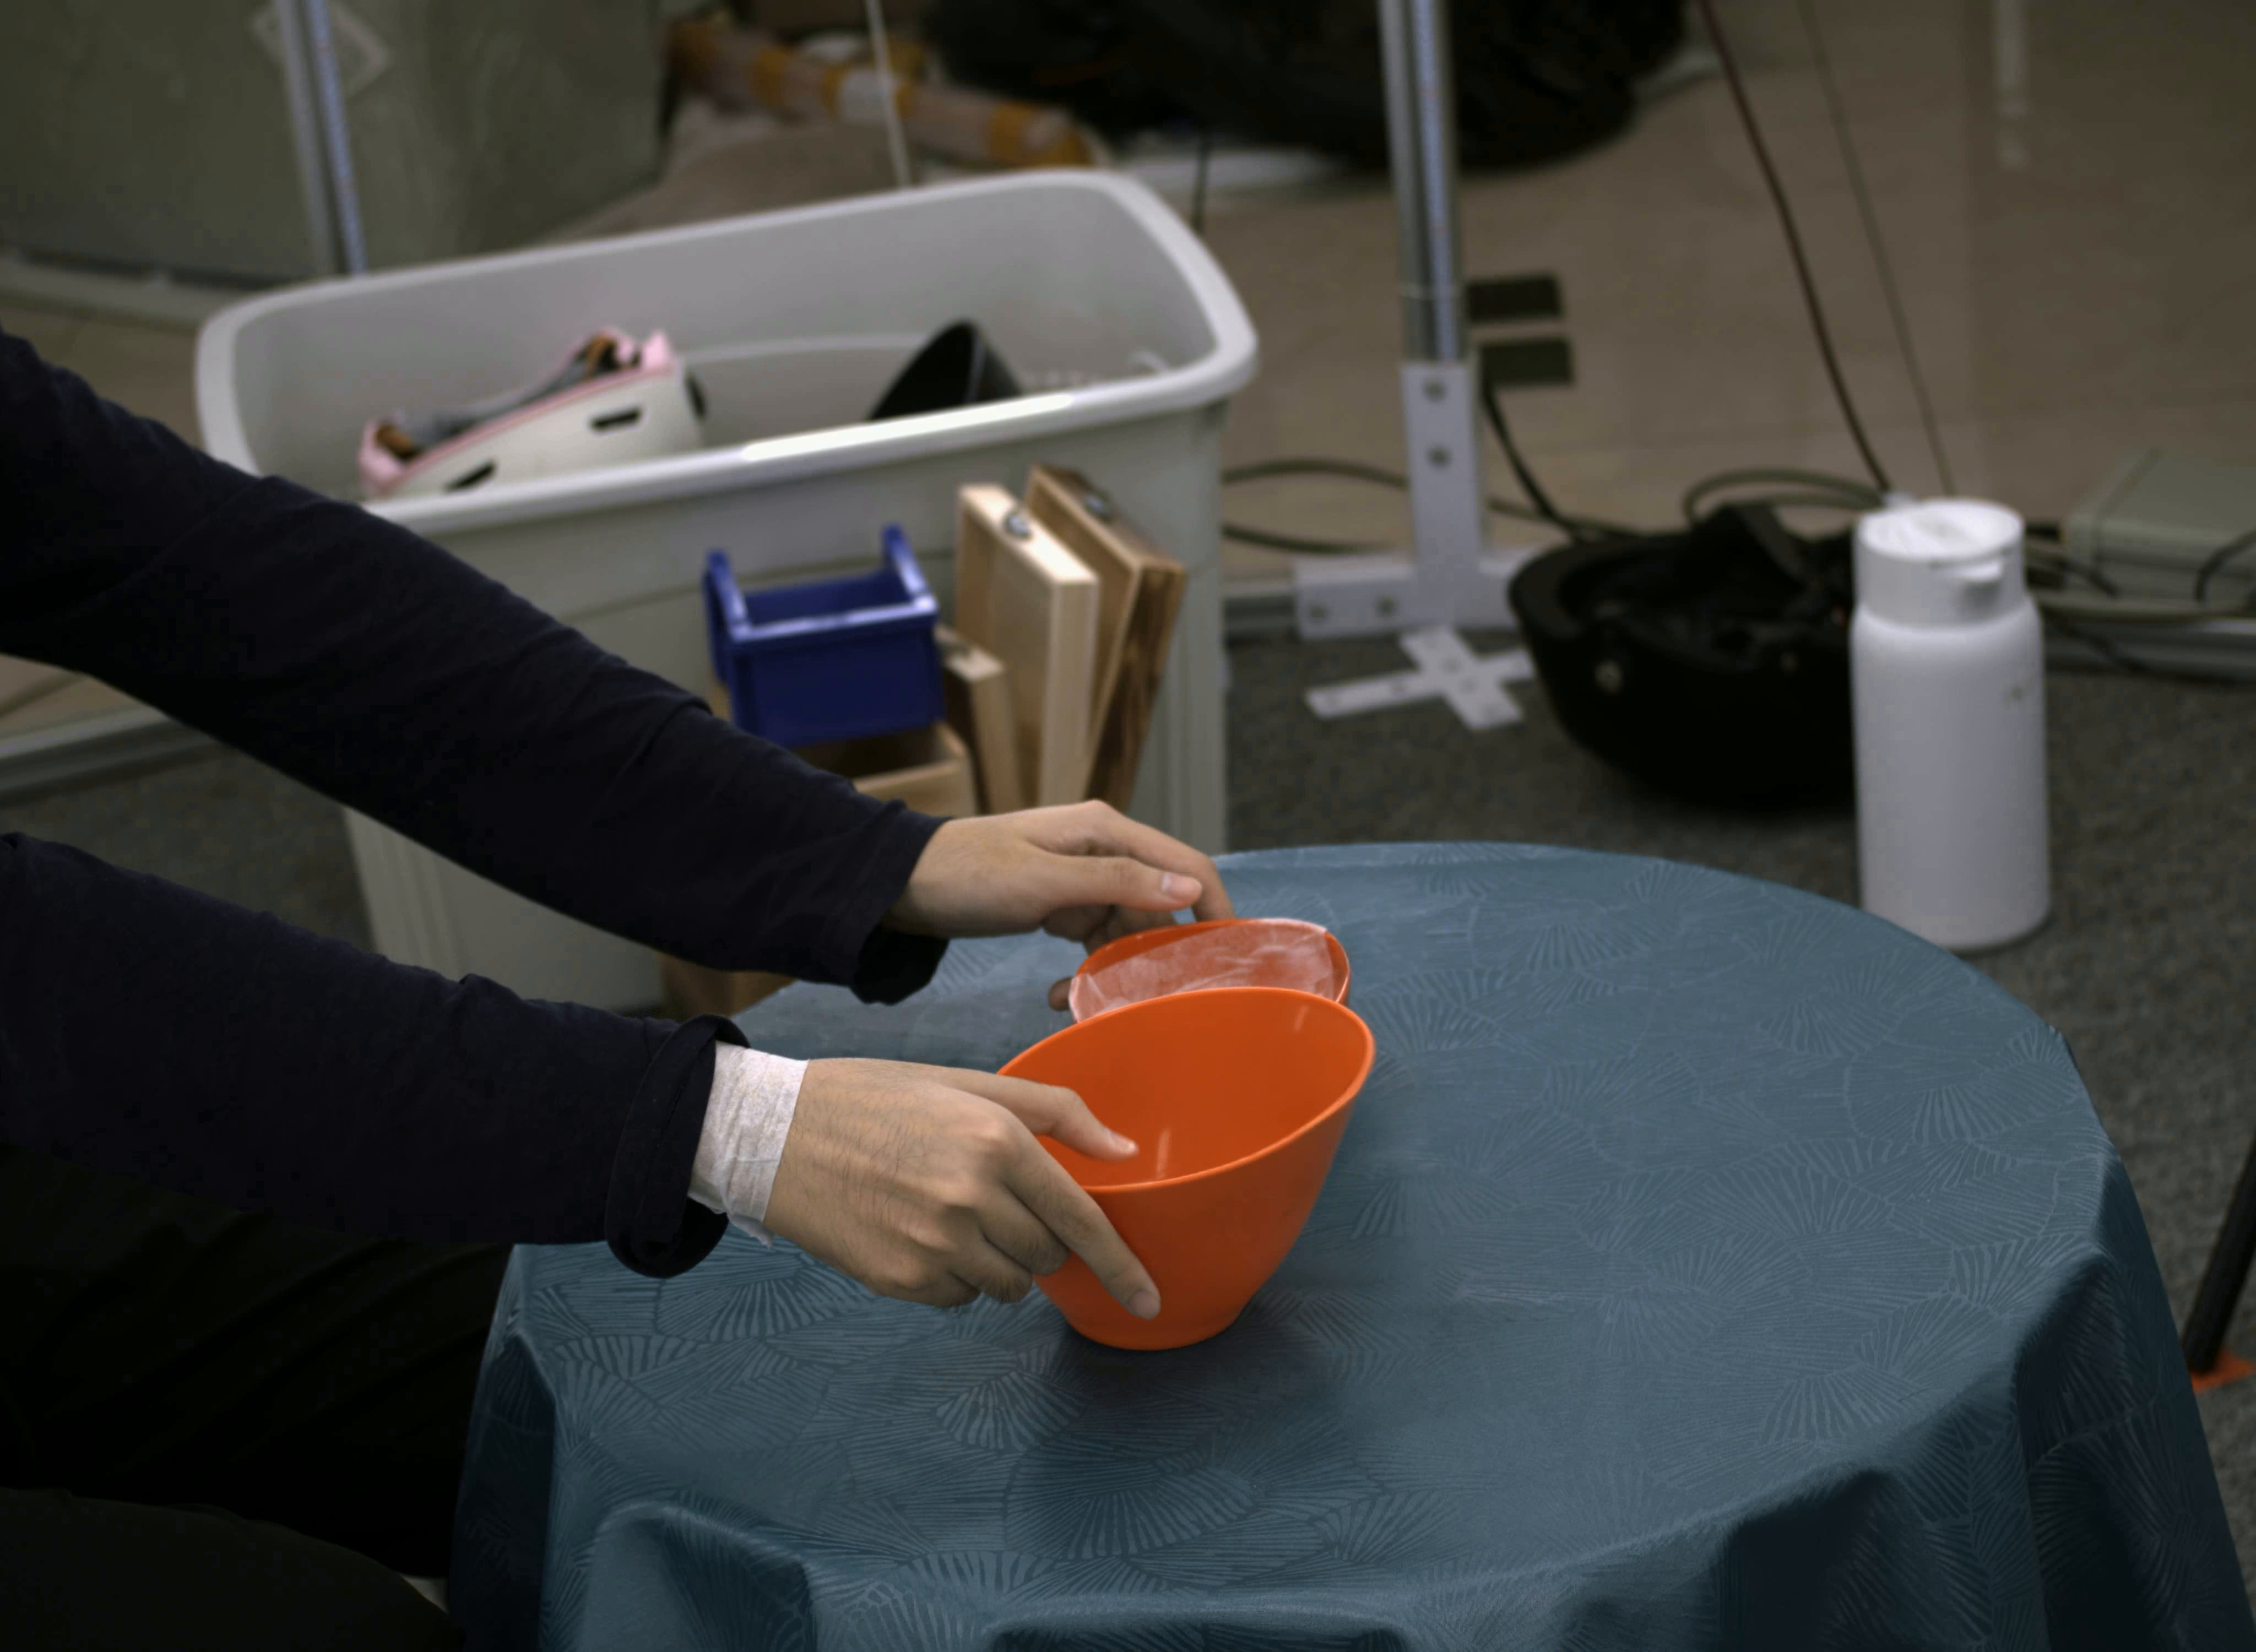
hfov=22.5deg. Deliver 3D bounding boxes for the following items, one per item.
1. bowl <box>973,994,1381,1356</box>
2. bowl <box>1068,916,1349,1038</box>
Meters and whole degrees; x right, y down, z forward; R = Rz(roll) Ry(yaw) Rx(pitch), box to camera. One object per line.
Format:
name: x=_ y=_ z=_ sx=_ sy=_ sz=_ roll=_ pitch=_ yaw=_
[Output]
bowl: x=0.019 y=0.131 z=2.042 sx=0.148 sy=0.106 sz=0.146 roll=-3 pitch=27 yaw=1
bowl: x=0.034 y=0.083 z=2.206 sx=0.119 sy=0.052 sz=0.117 roll=-6 pitch=26 yaw=3
